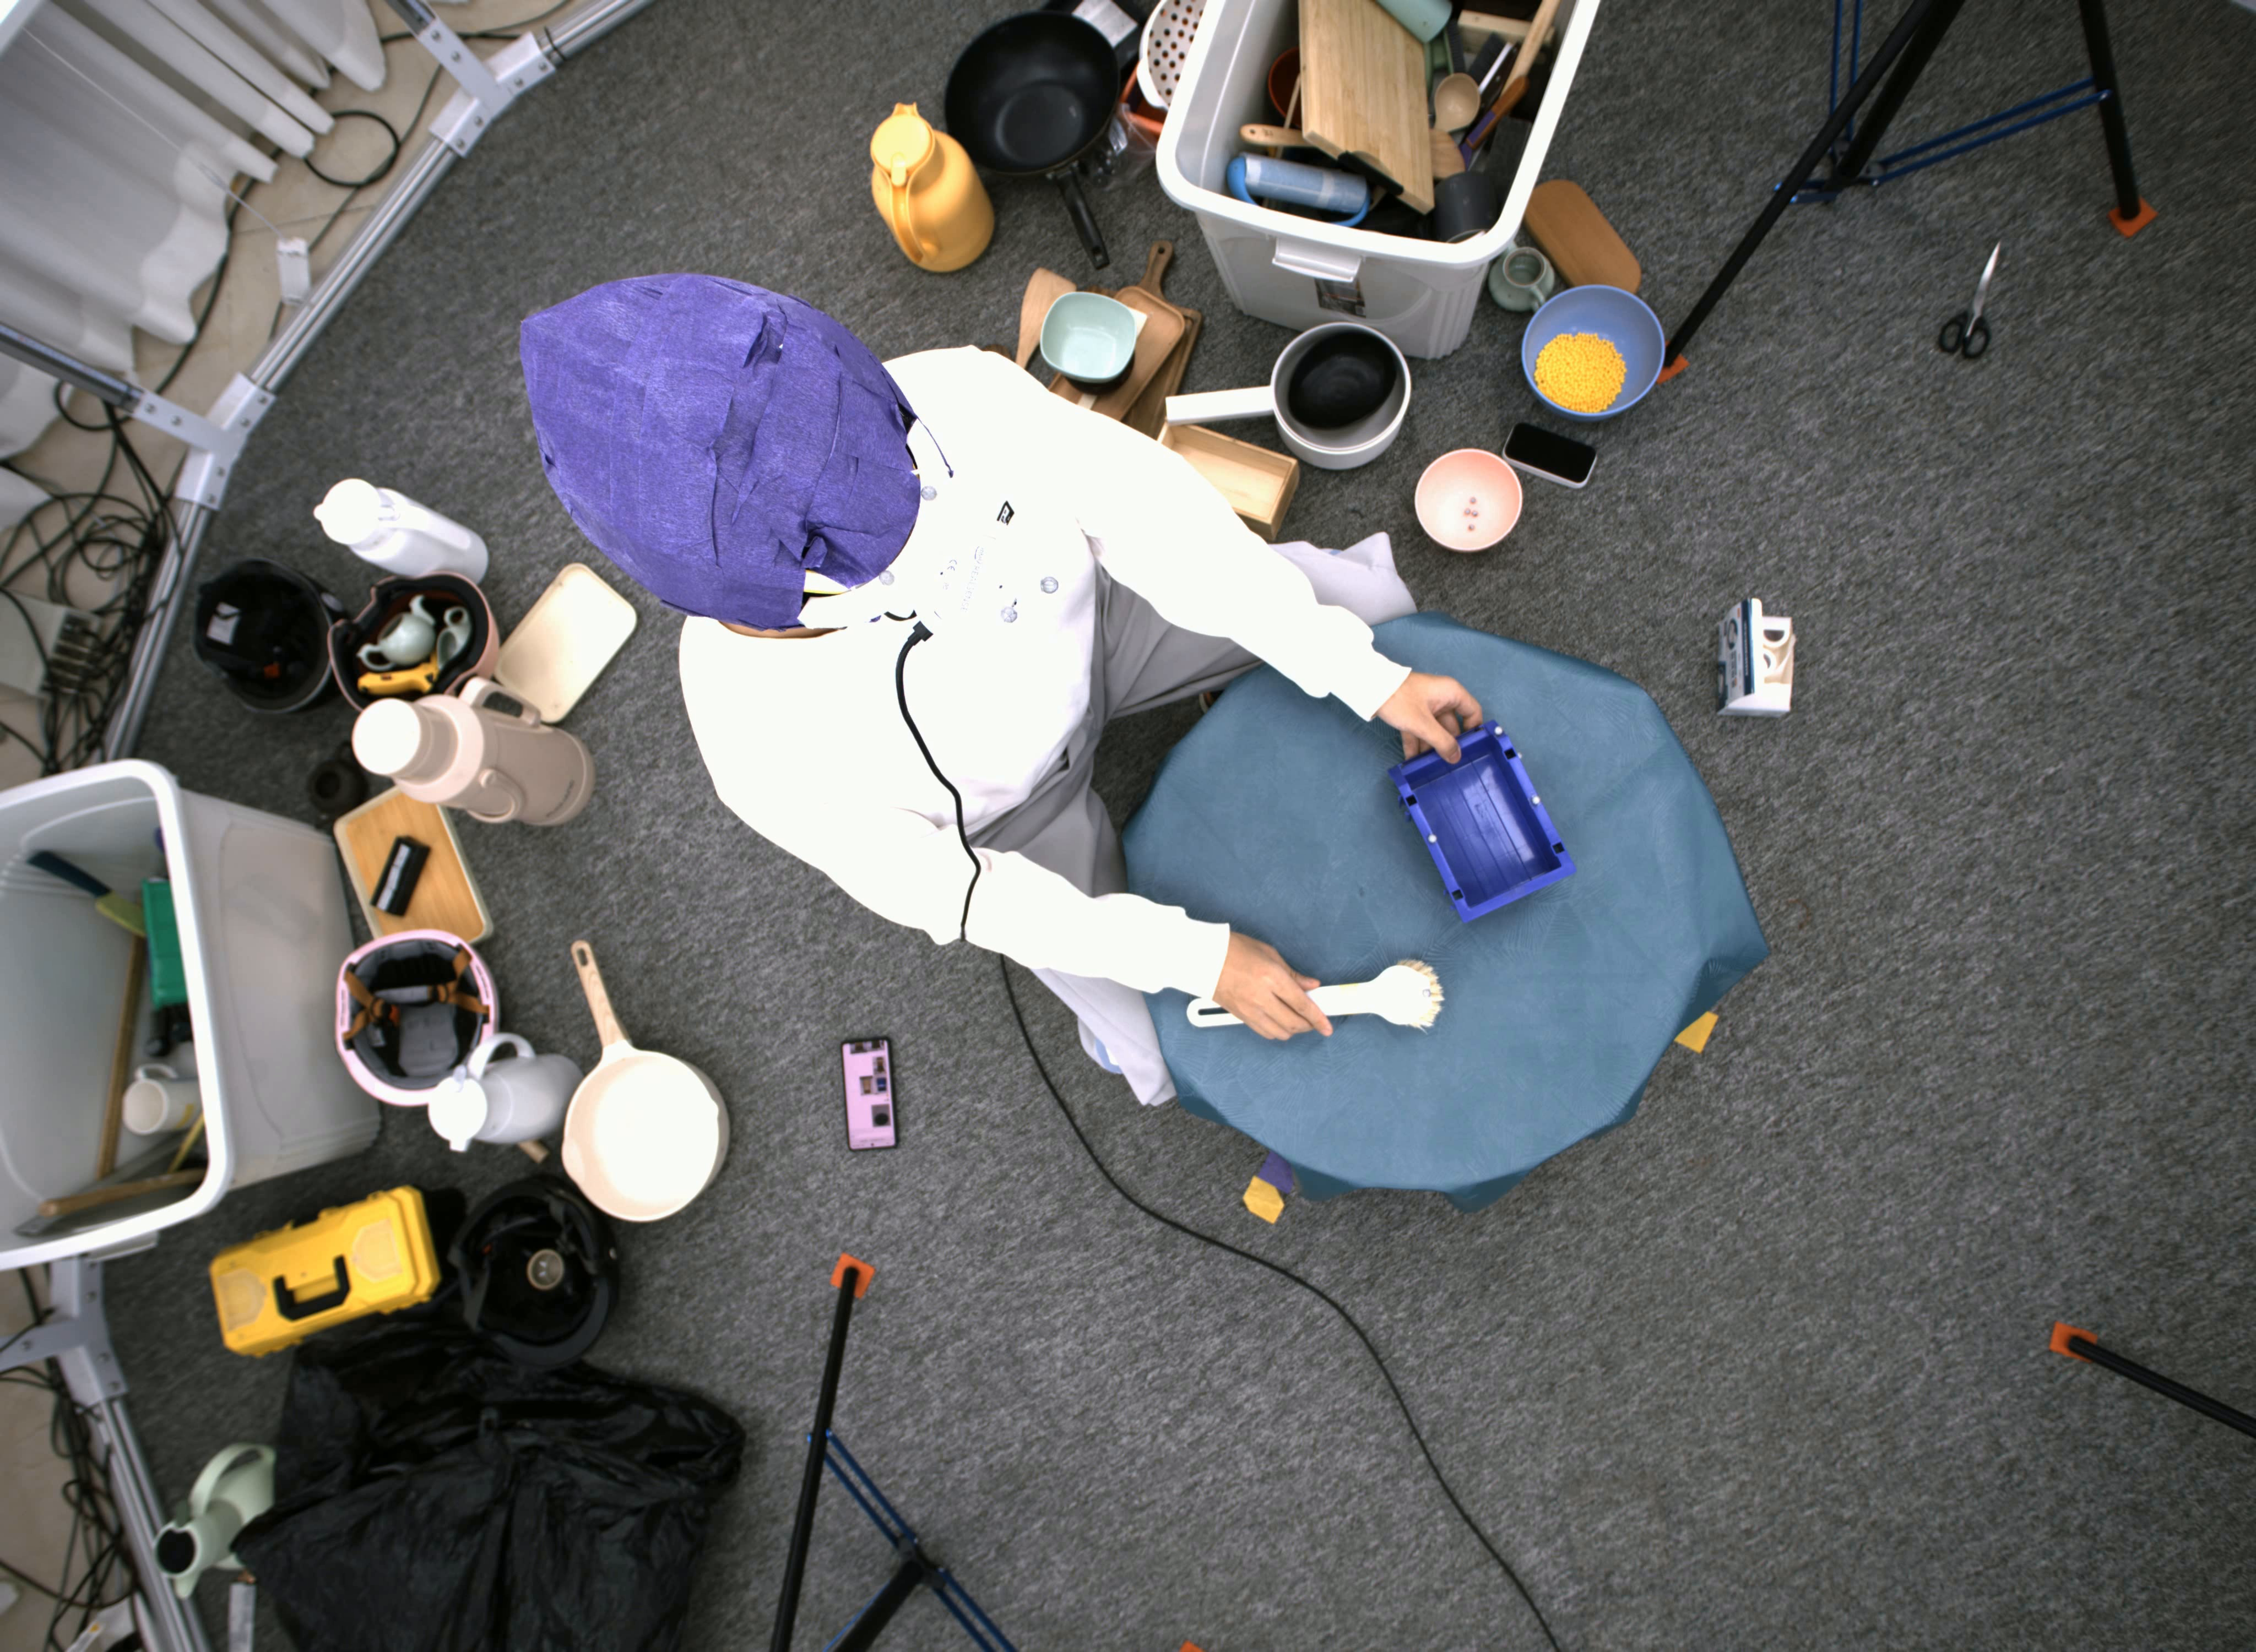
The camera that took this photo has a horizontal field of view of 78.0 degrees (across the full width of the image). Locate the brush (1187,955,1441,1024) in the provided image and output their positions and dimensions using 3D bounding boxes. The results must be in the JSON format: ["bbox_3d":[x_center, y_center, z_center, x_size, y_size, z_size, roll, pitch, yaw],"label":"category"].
[{"bbox_3d":[0.193,0.179,1.449,0.269,0.056,0.067,-11,75,24],"label":"brush"}]

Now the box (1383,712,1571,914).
[{"bbox_3d":[0.349,-0.016,1.394,0.125,0.082,0.178,-25,83,10],"label":"box"}]
